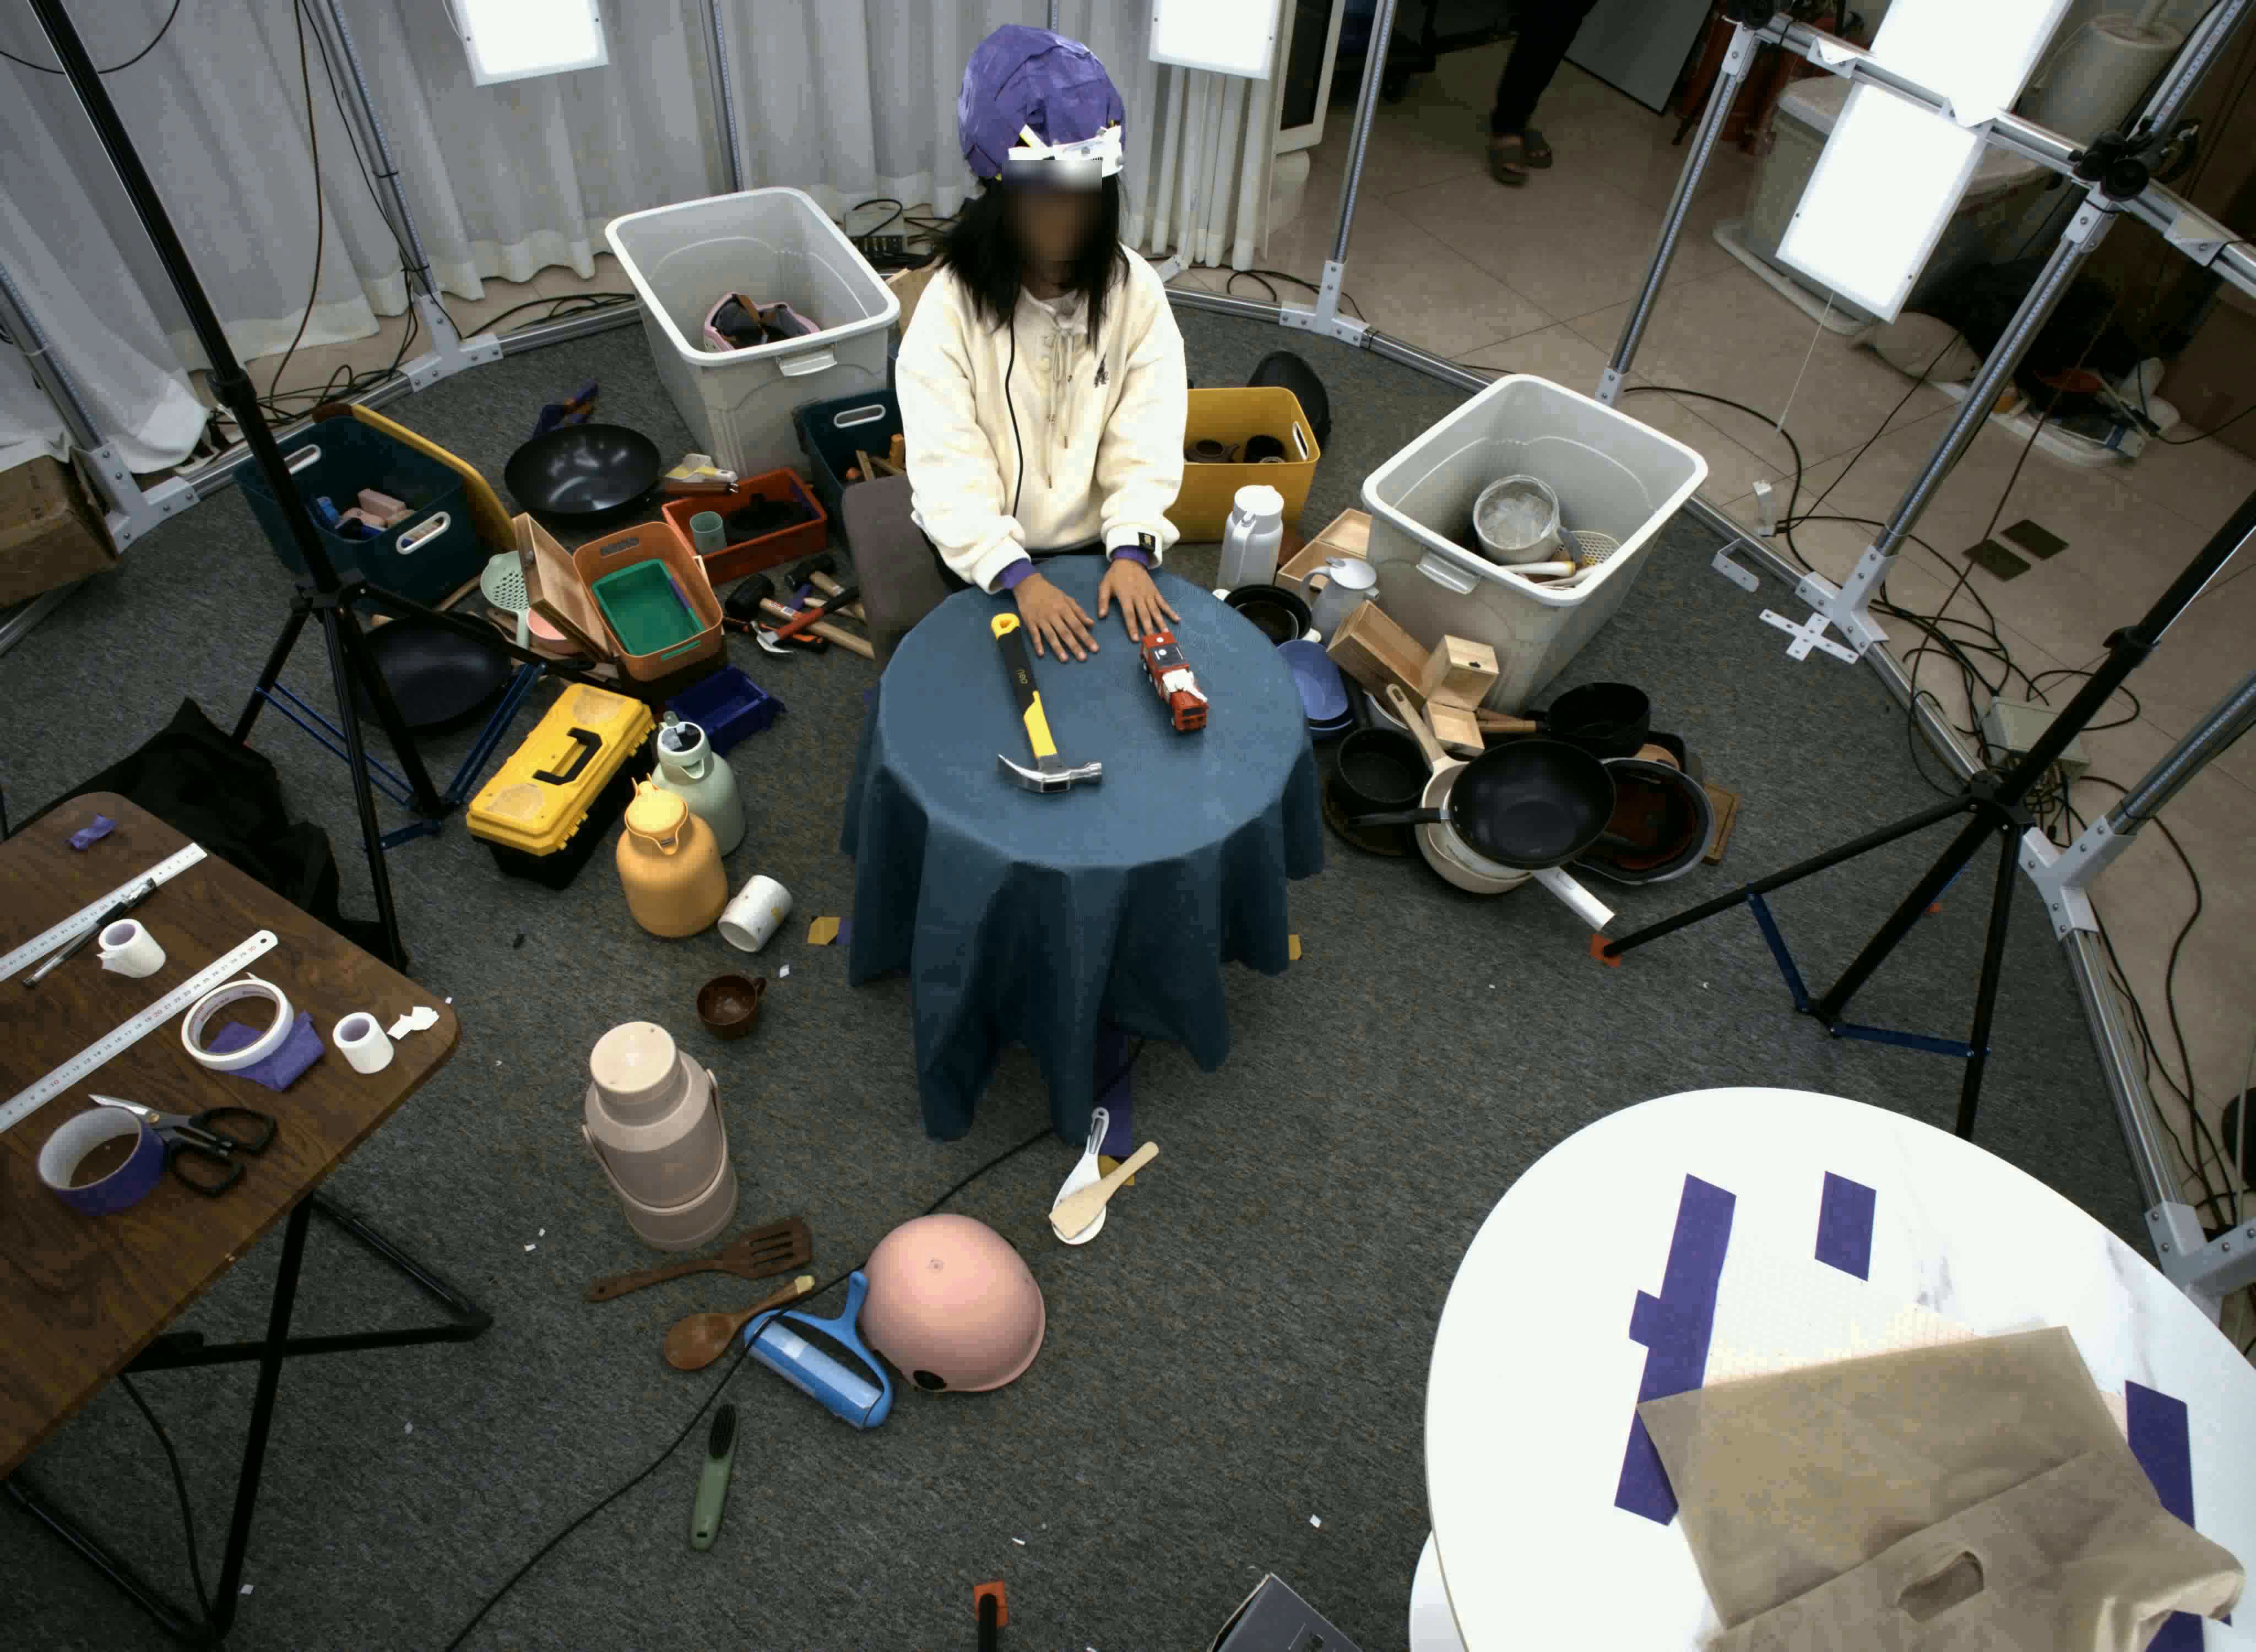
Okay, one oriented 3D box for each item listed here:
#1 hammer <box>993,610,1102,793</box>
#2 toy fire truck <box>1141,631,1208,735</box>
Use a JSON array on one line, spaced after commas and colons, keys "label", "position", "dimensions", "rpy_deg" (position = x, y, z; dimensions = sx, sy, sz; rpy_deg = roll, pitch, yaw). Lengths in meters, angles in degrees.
[{"label": "hammer", "position": [-0.138, -0.182, 1.793], "dimensions": [0.131, 0.031, 0.347], "rpy_deg": [-9, 52, -11]}, {"label": "toy fire truck", "position": [0.065, -0.204, 1.813], "dimensions": [0.054, 0.068, 0.172], "rpy_deg": [-12, 50, -15]}]
